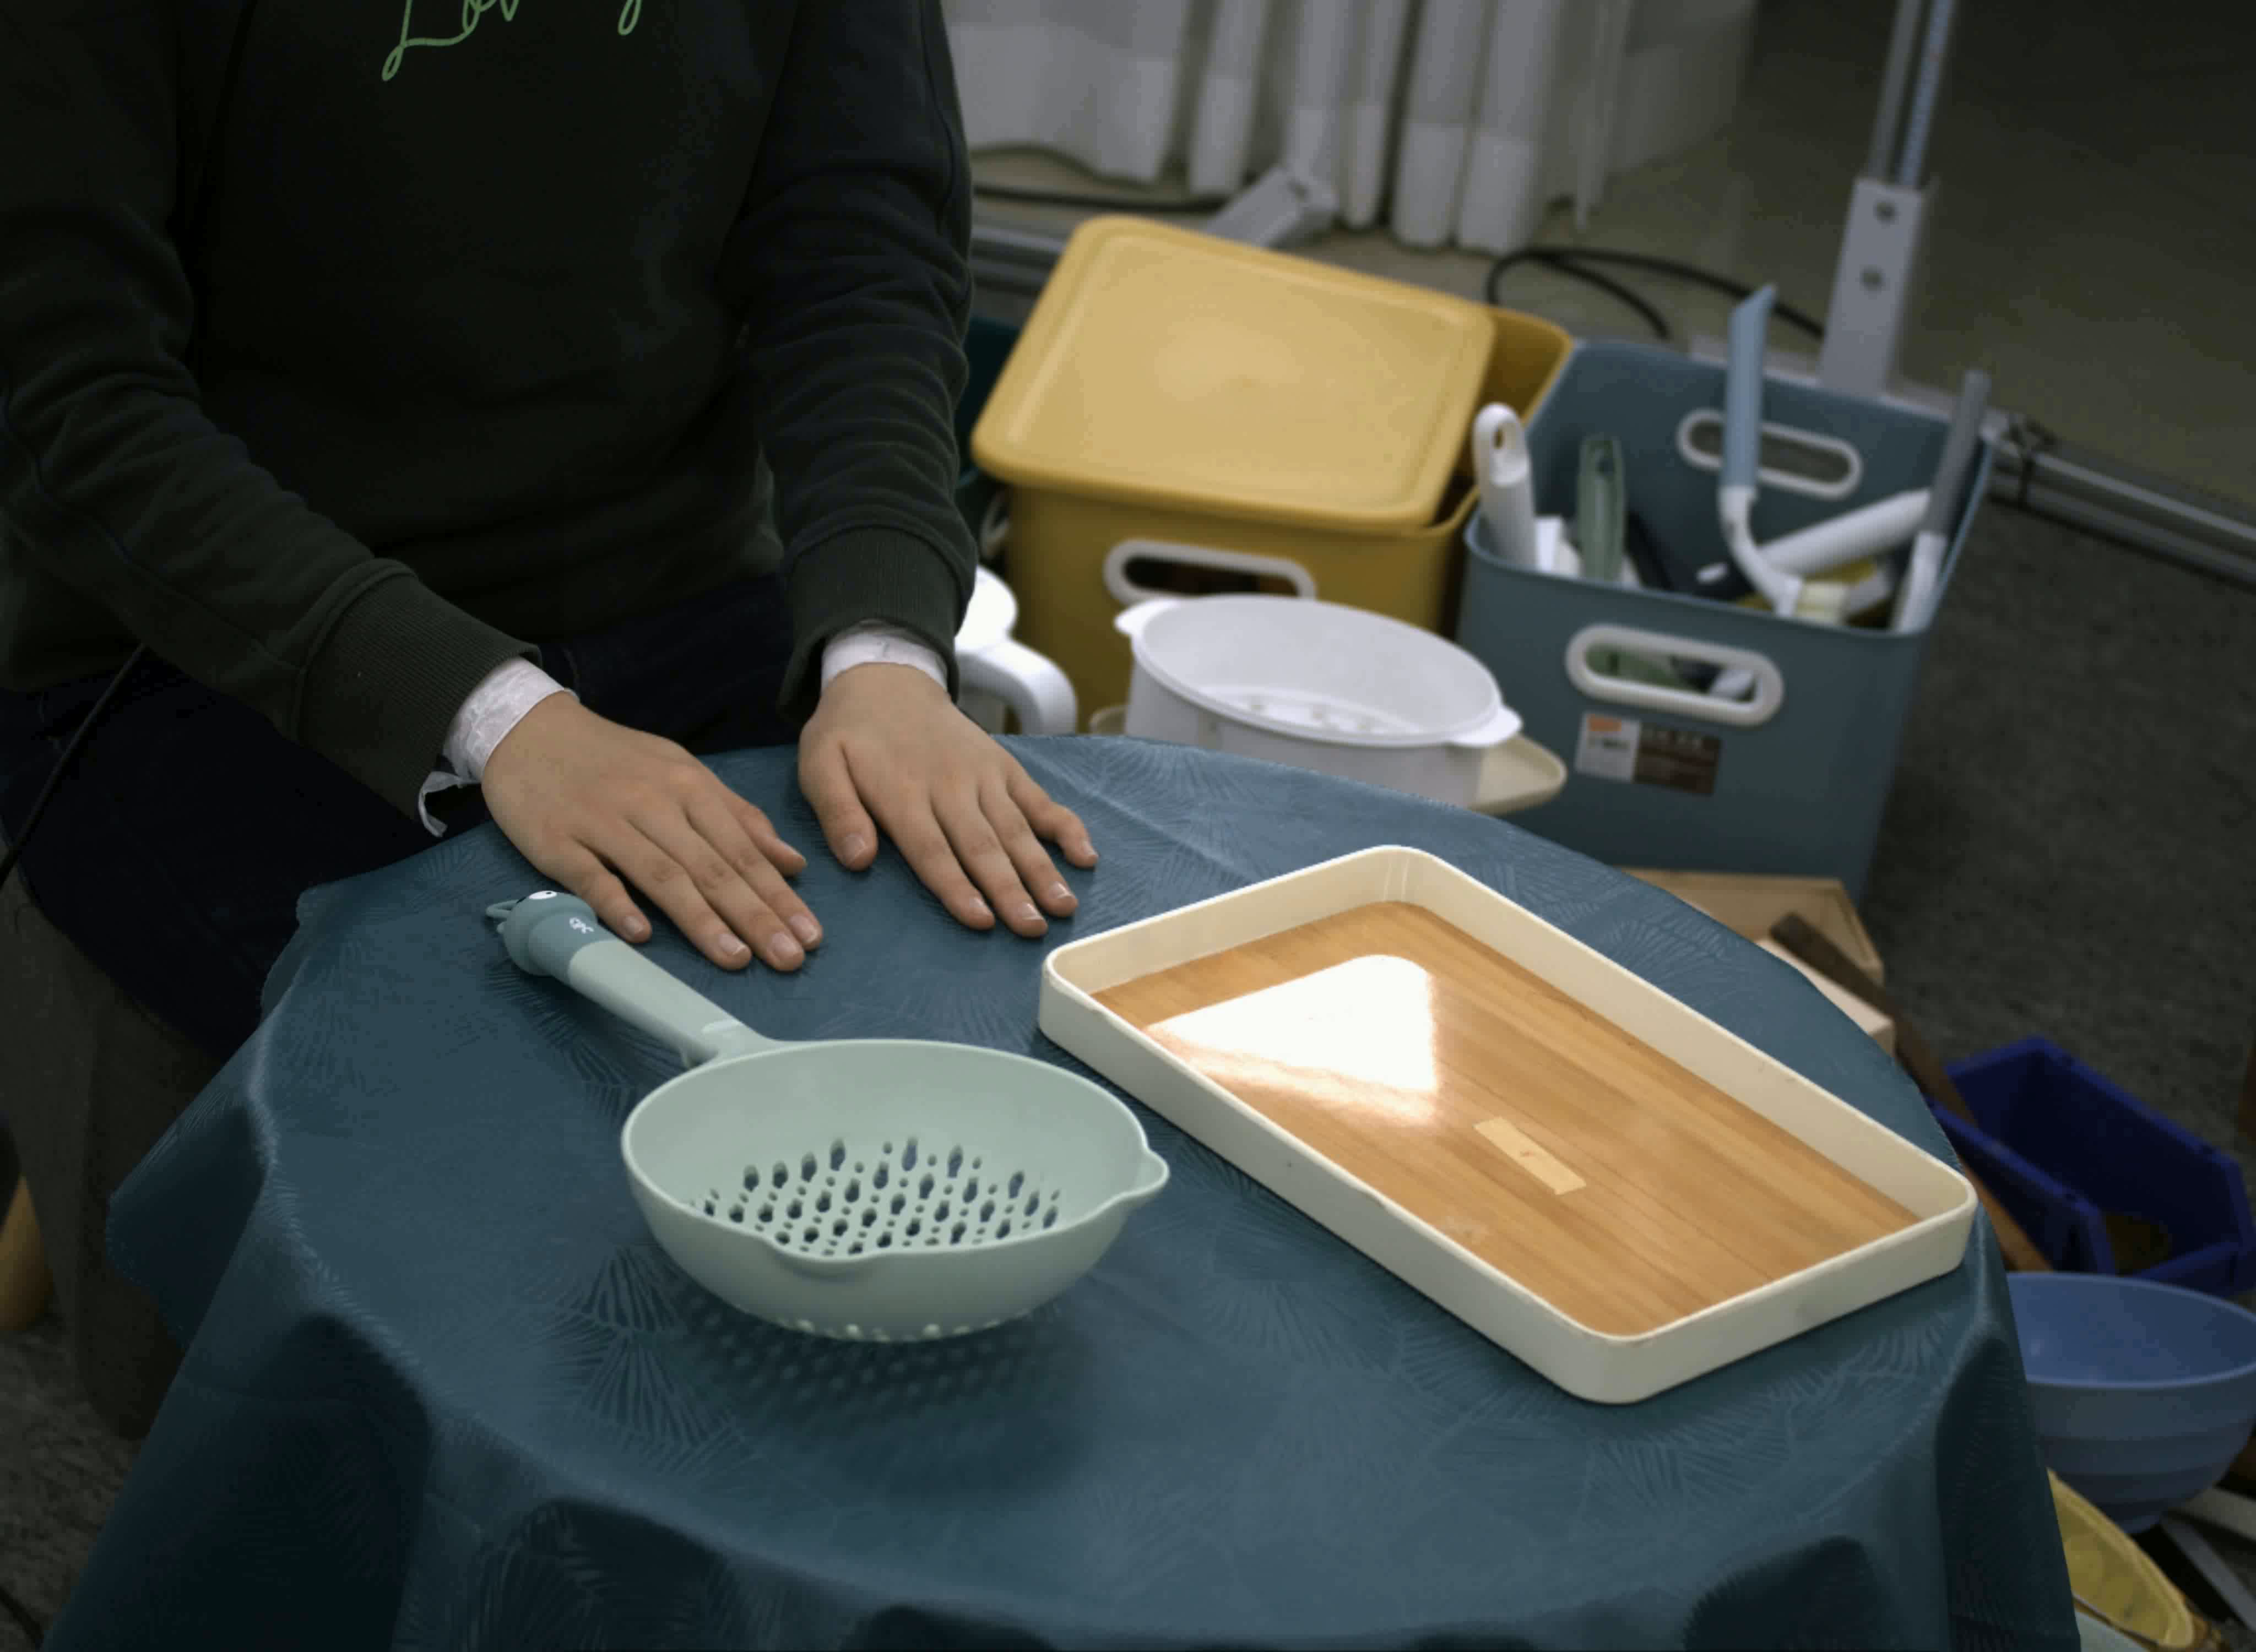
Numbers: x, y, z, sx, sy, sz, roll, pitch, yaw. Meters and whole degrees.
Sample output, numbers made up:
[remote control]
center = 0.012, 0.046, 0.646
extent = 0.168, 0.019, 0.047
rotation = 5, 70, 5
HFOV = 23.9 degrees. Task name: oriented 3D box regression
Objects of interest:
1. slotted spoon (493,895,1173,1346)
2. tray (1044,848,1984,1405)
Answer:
[slotted spoon]
center = -0.129, 0.083, 1.781
extent = 0.168, 0.075, 0.362
rotation = -10, 31, -31
[tray]
center = 0.130, 0.098, 1.851
extent = 0.190, 0.027, 0.303
rotation = -16, 35, -37
